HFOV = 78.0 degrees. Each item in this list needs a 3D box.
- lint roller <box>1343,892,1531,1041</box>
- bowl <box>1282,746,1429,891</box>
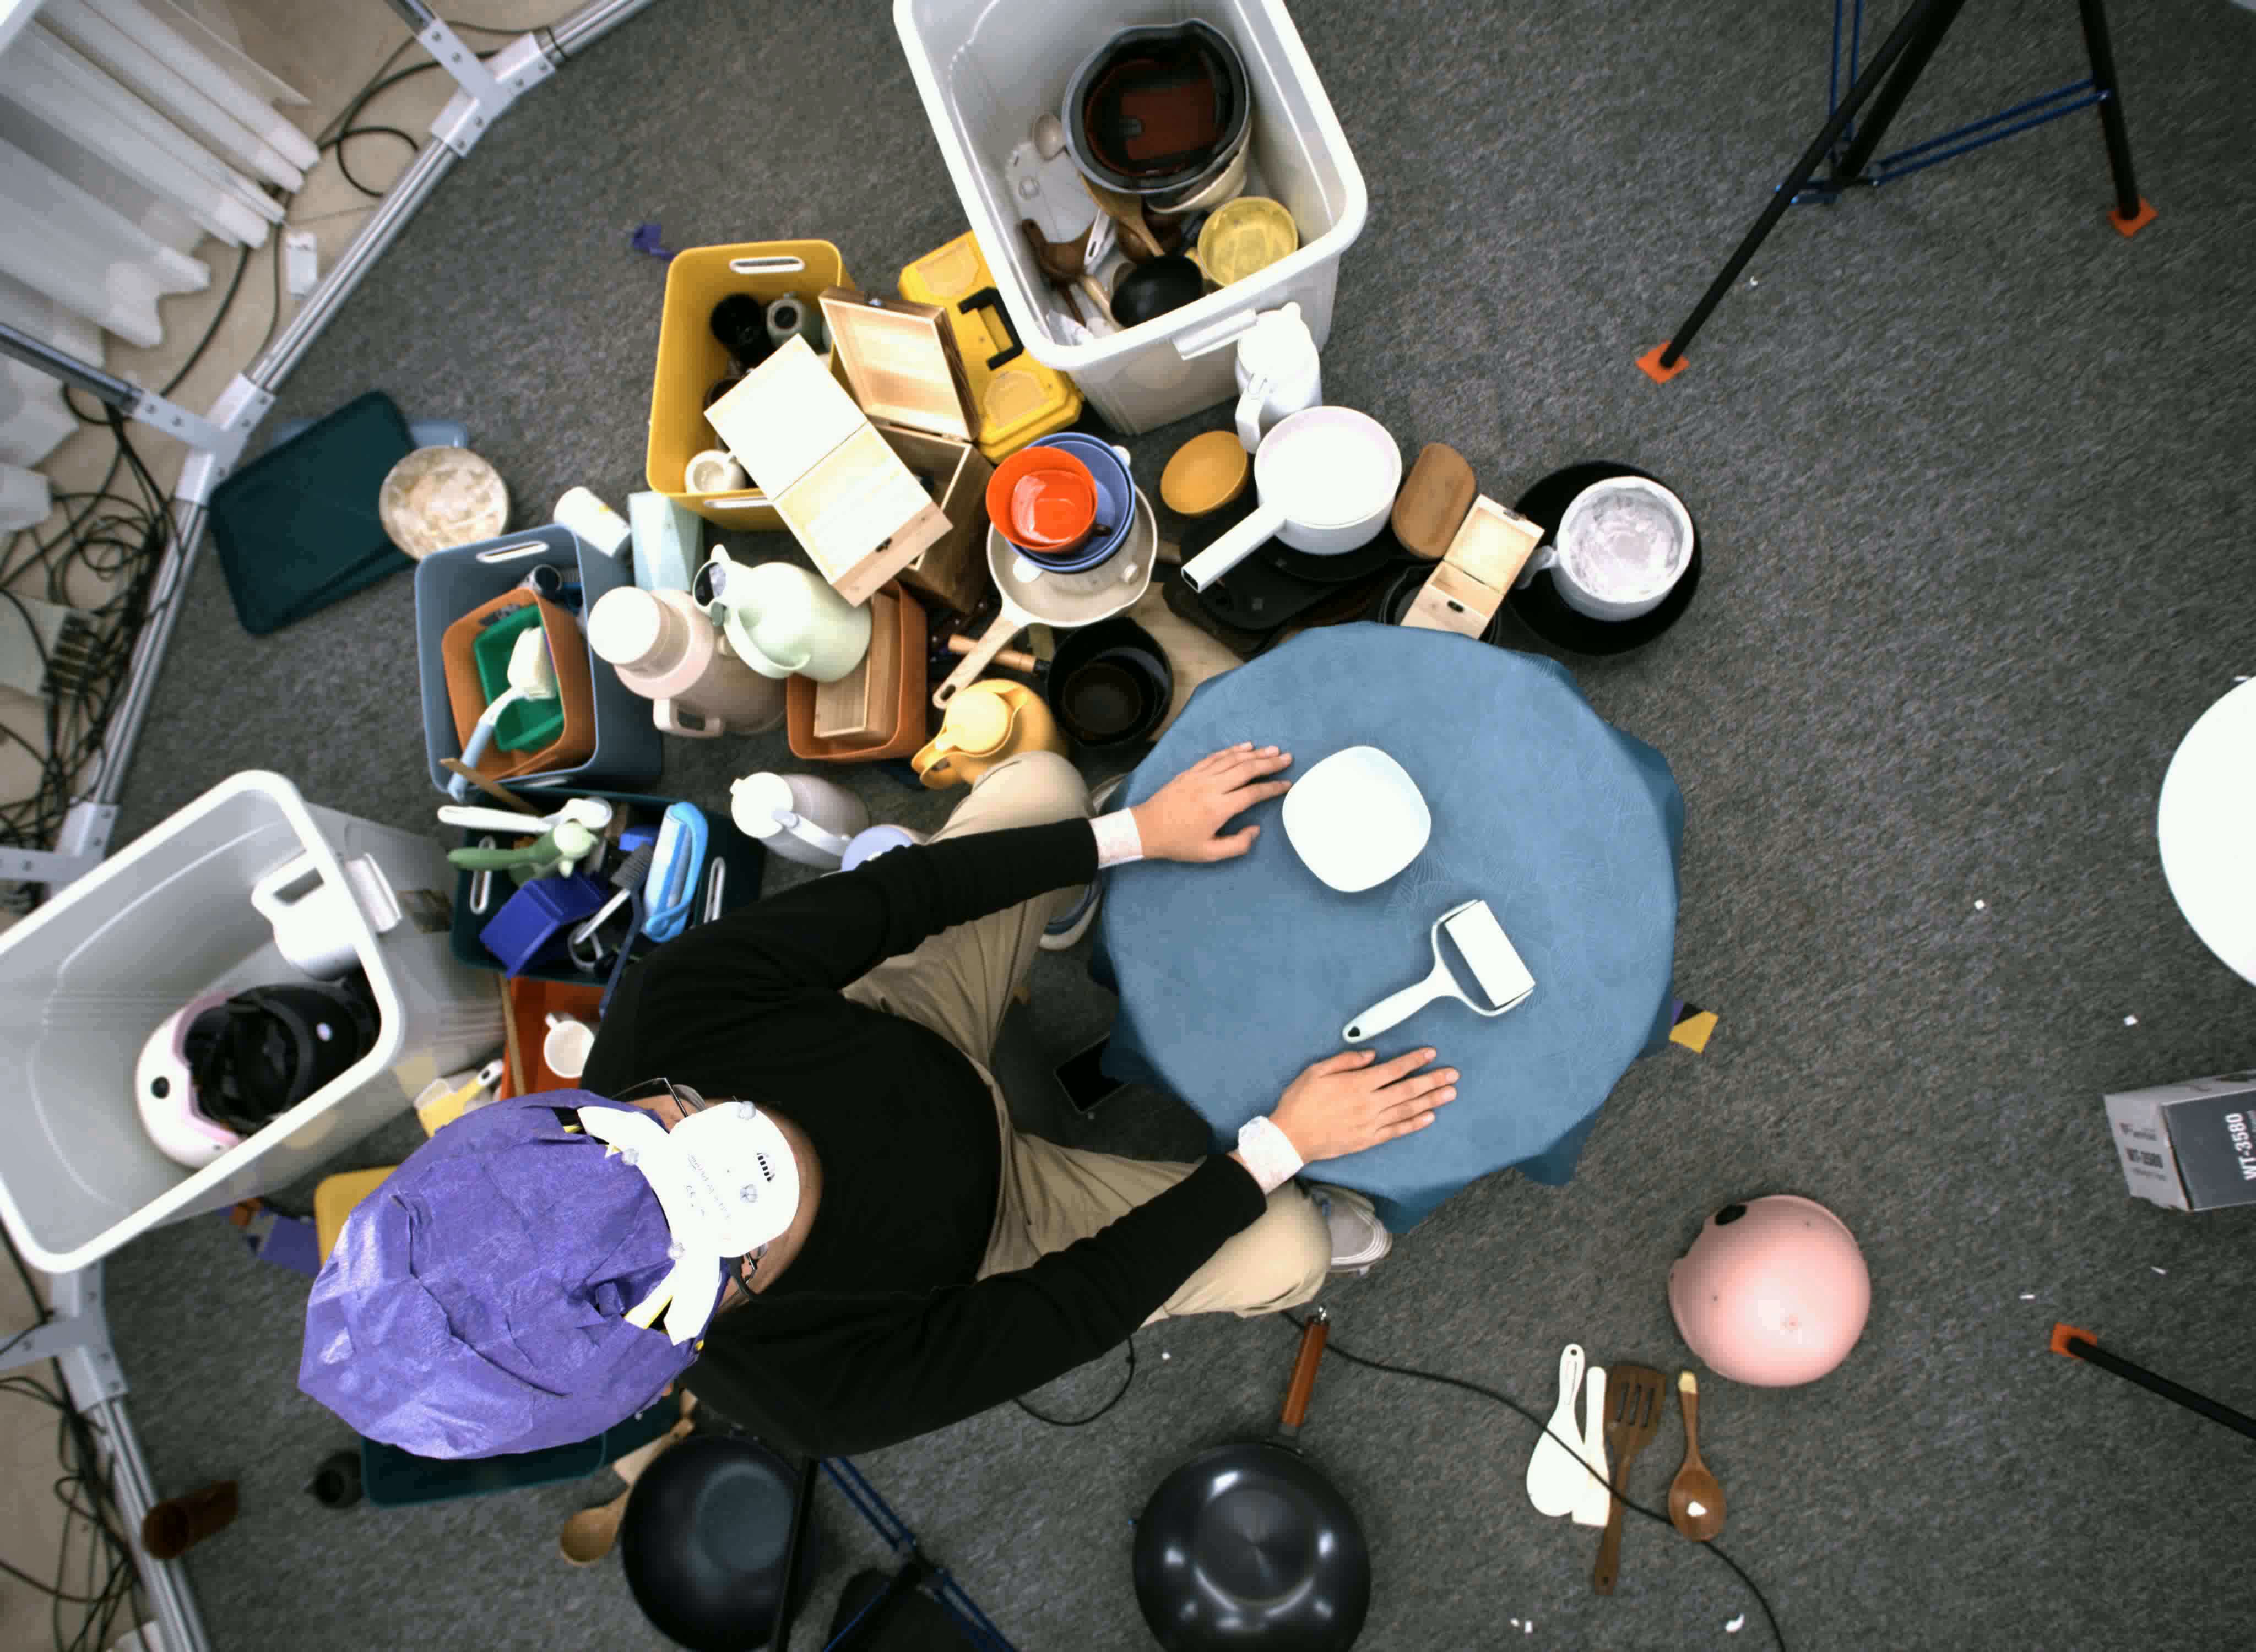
[{"bbox_3d":[0.305,0.161,1.426,0.199,0.048,0.116,-32,83,8],"label":"lint roller"},{"bbox_3d":[0.237,-0.006,1.442,0.152,0.059,0.151,-1,86,9],"label":"bowl"}]
